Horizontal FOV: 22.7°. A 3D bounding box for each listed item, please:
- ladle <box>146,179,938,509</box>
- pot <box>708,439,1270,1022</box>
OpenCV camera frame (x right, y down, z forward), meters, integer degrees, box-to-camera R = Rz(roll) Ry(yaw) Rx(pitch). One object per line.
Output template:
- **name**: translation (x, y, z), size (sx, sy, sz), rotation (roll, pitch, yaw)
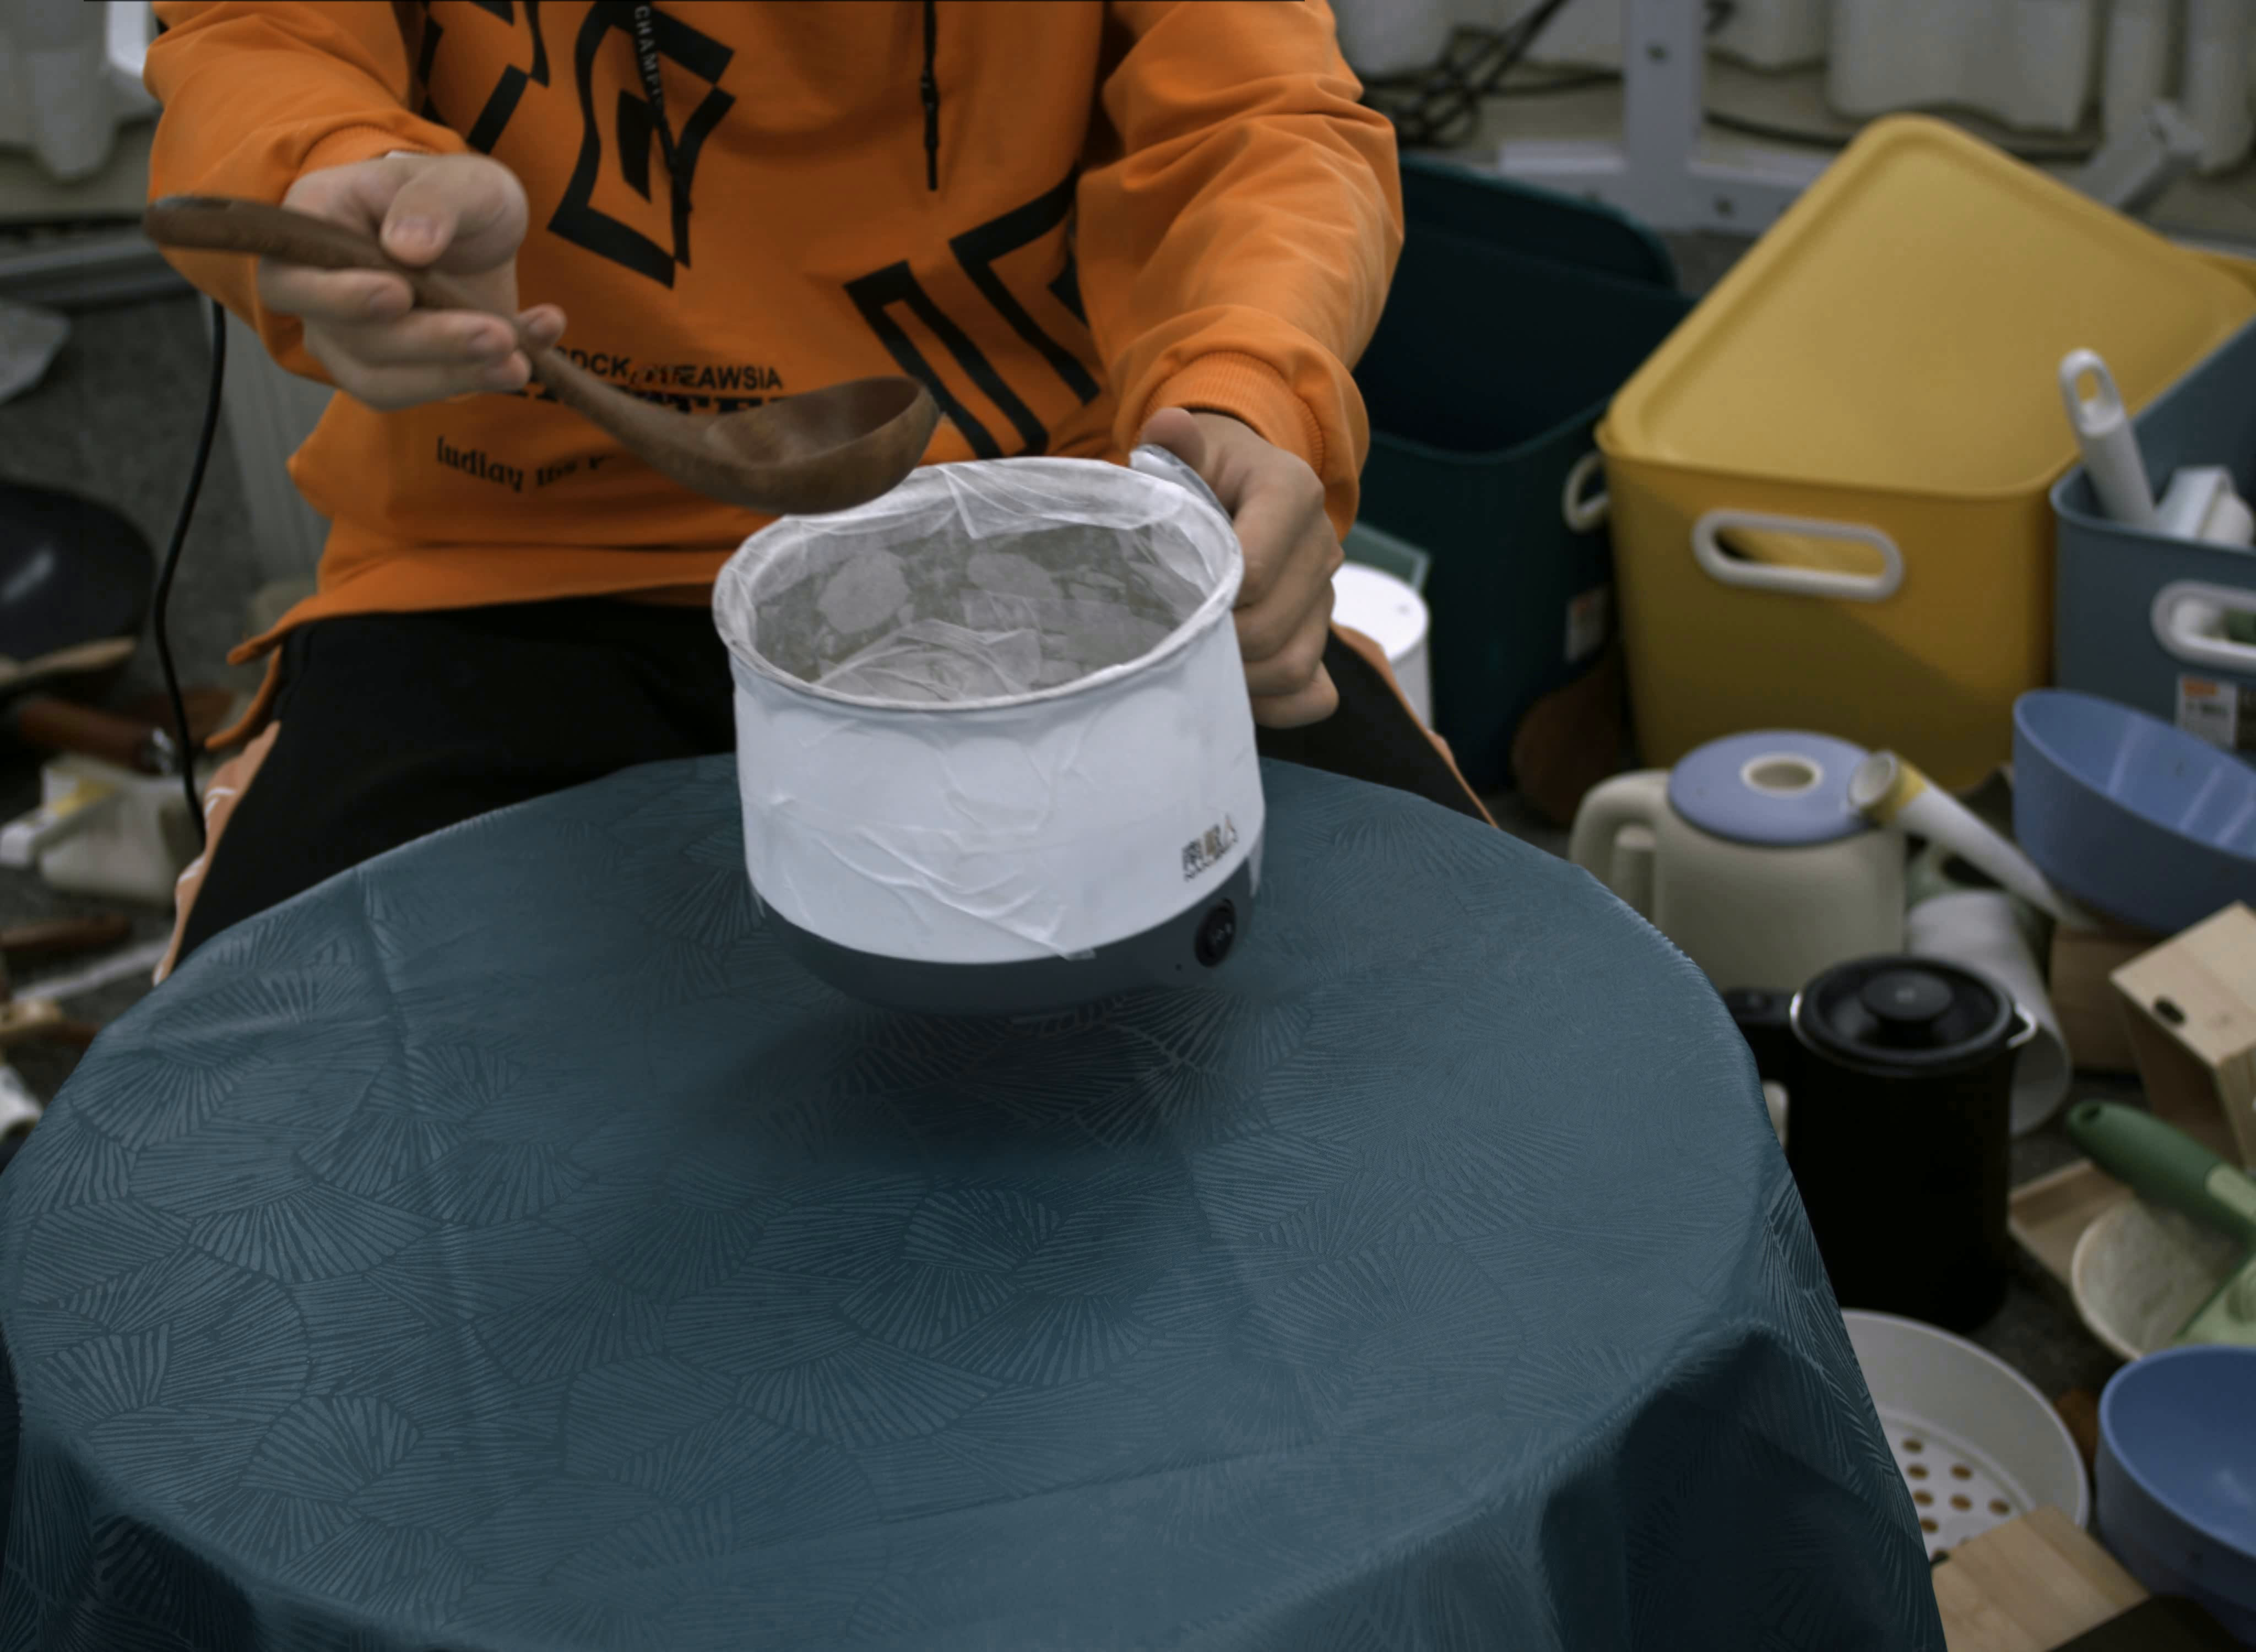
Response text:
- **ladle**: translation (-0.185, -0.167, 1.808), size (0.259, 0.064, 0.077), rotation (25, 15, -7)
- **pot**: translation (-0.031, -0.041, 1.911), size (0.178, 0.135, 0.237), rotation (15, 35, 31)
